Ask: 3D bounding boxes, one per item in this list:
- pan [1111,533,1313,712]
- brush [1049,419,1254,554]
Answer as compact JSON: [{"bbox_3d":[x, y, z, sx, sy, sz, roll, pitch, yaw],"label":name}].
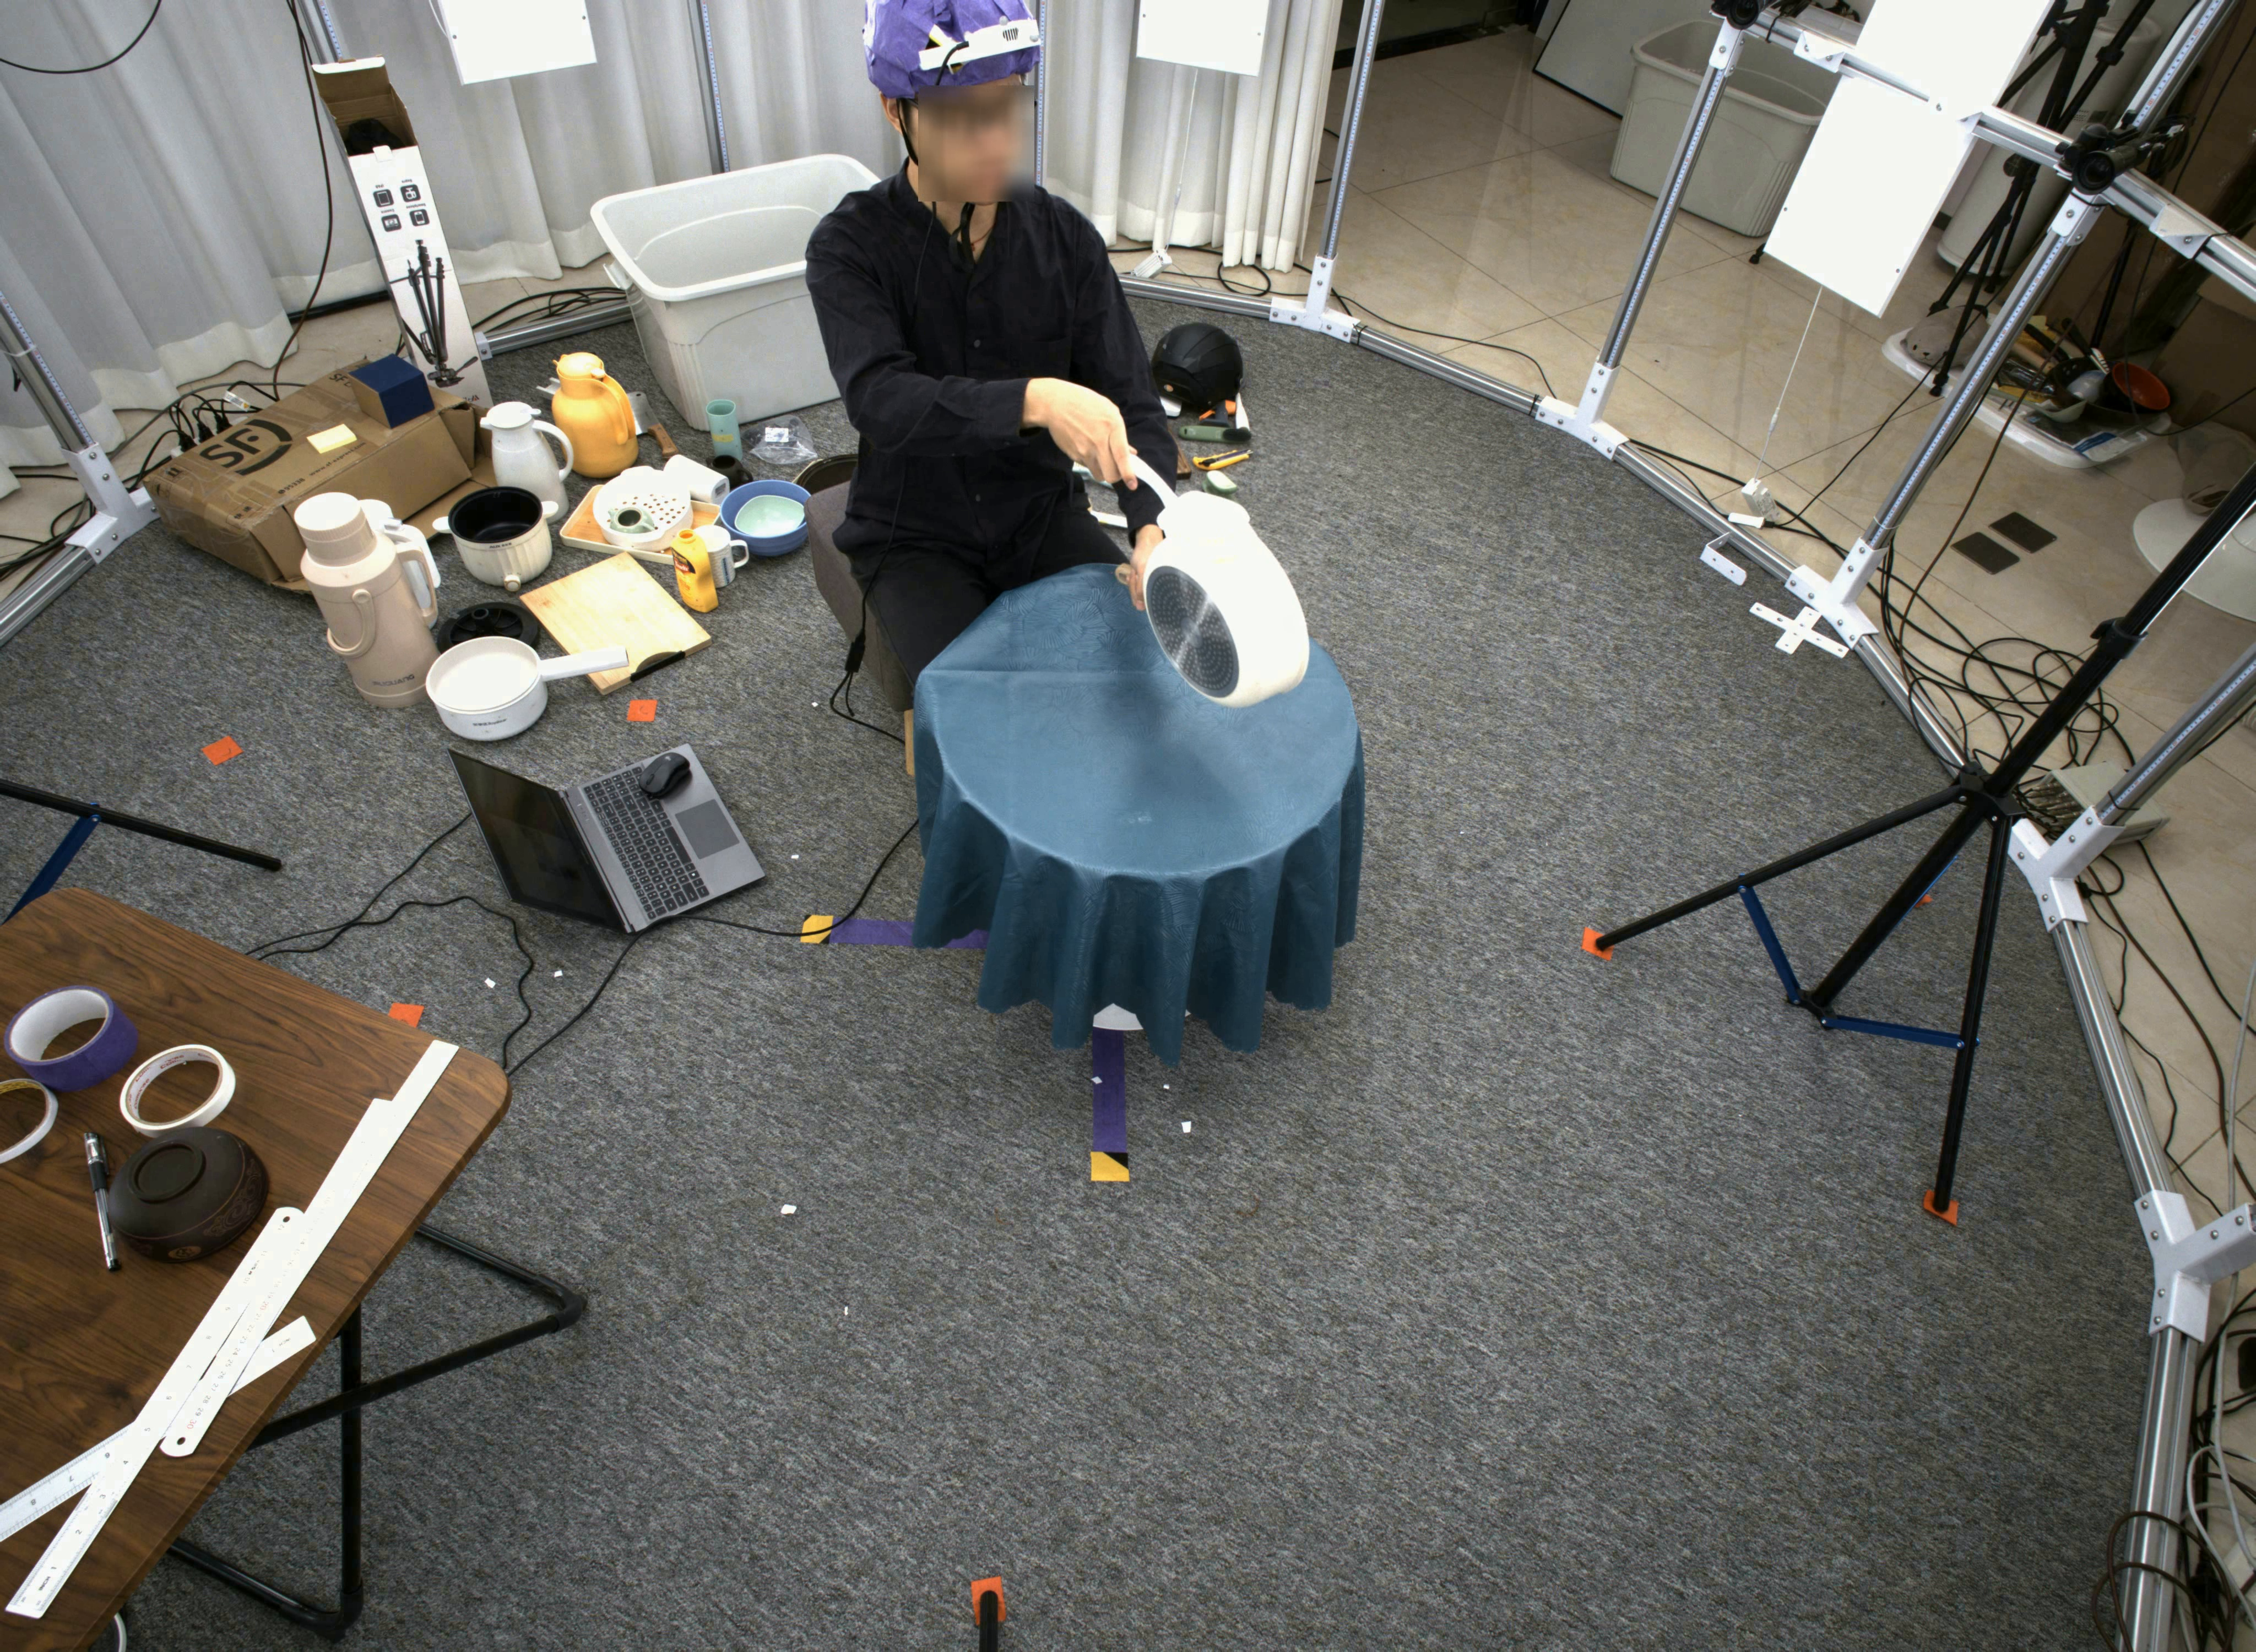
[{"bbox_3d":[0.070,-0.284,1.680,0.102,0.258,0.441,-33,31,-20],"label":"pan"},{"bbox_3d":[0.028,-0.403,1.555,0.331,0.083,0.083,35,30,33],"label":"brush"}]
